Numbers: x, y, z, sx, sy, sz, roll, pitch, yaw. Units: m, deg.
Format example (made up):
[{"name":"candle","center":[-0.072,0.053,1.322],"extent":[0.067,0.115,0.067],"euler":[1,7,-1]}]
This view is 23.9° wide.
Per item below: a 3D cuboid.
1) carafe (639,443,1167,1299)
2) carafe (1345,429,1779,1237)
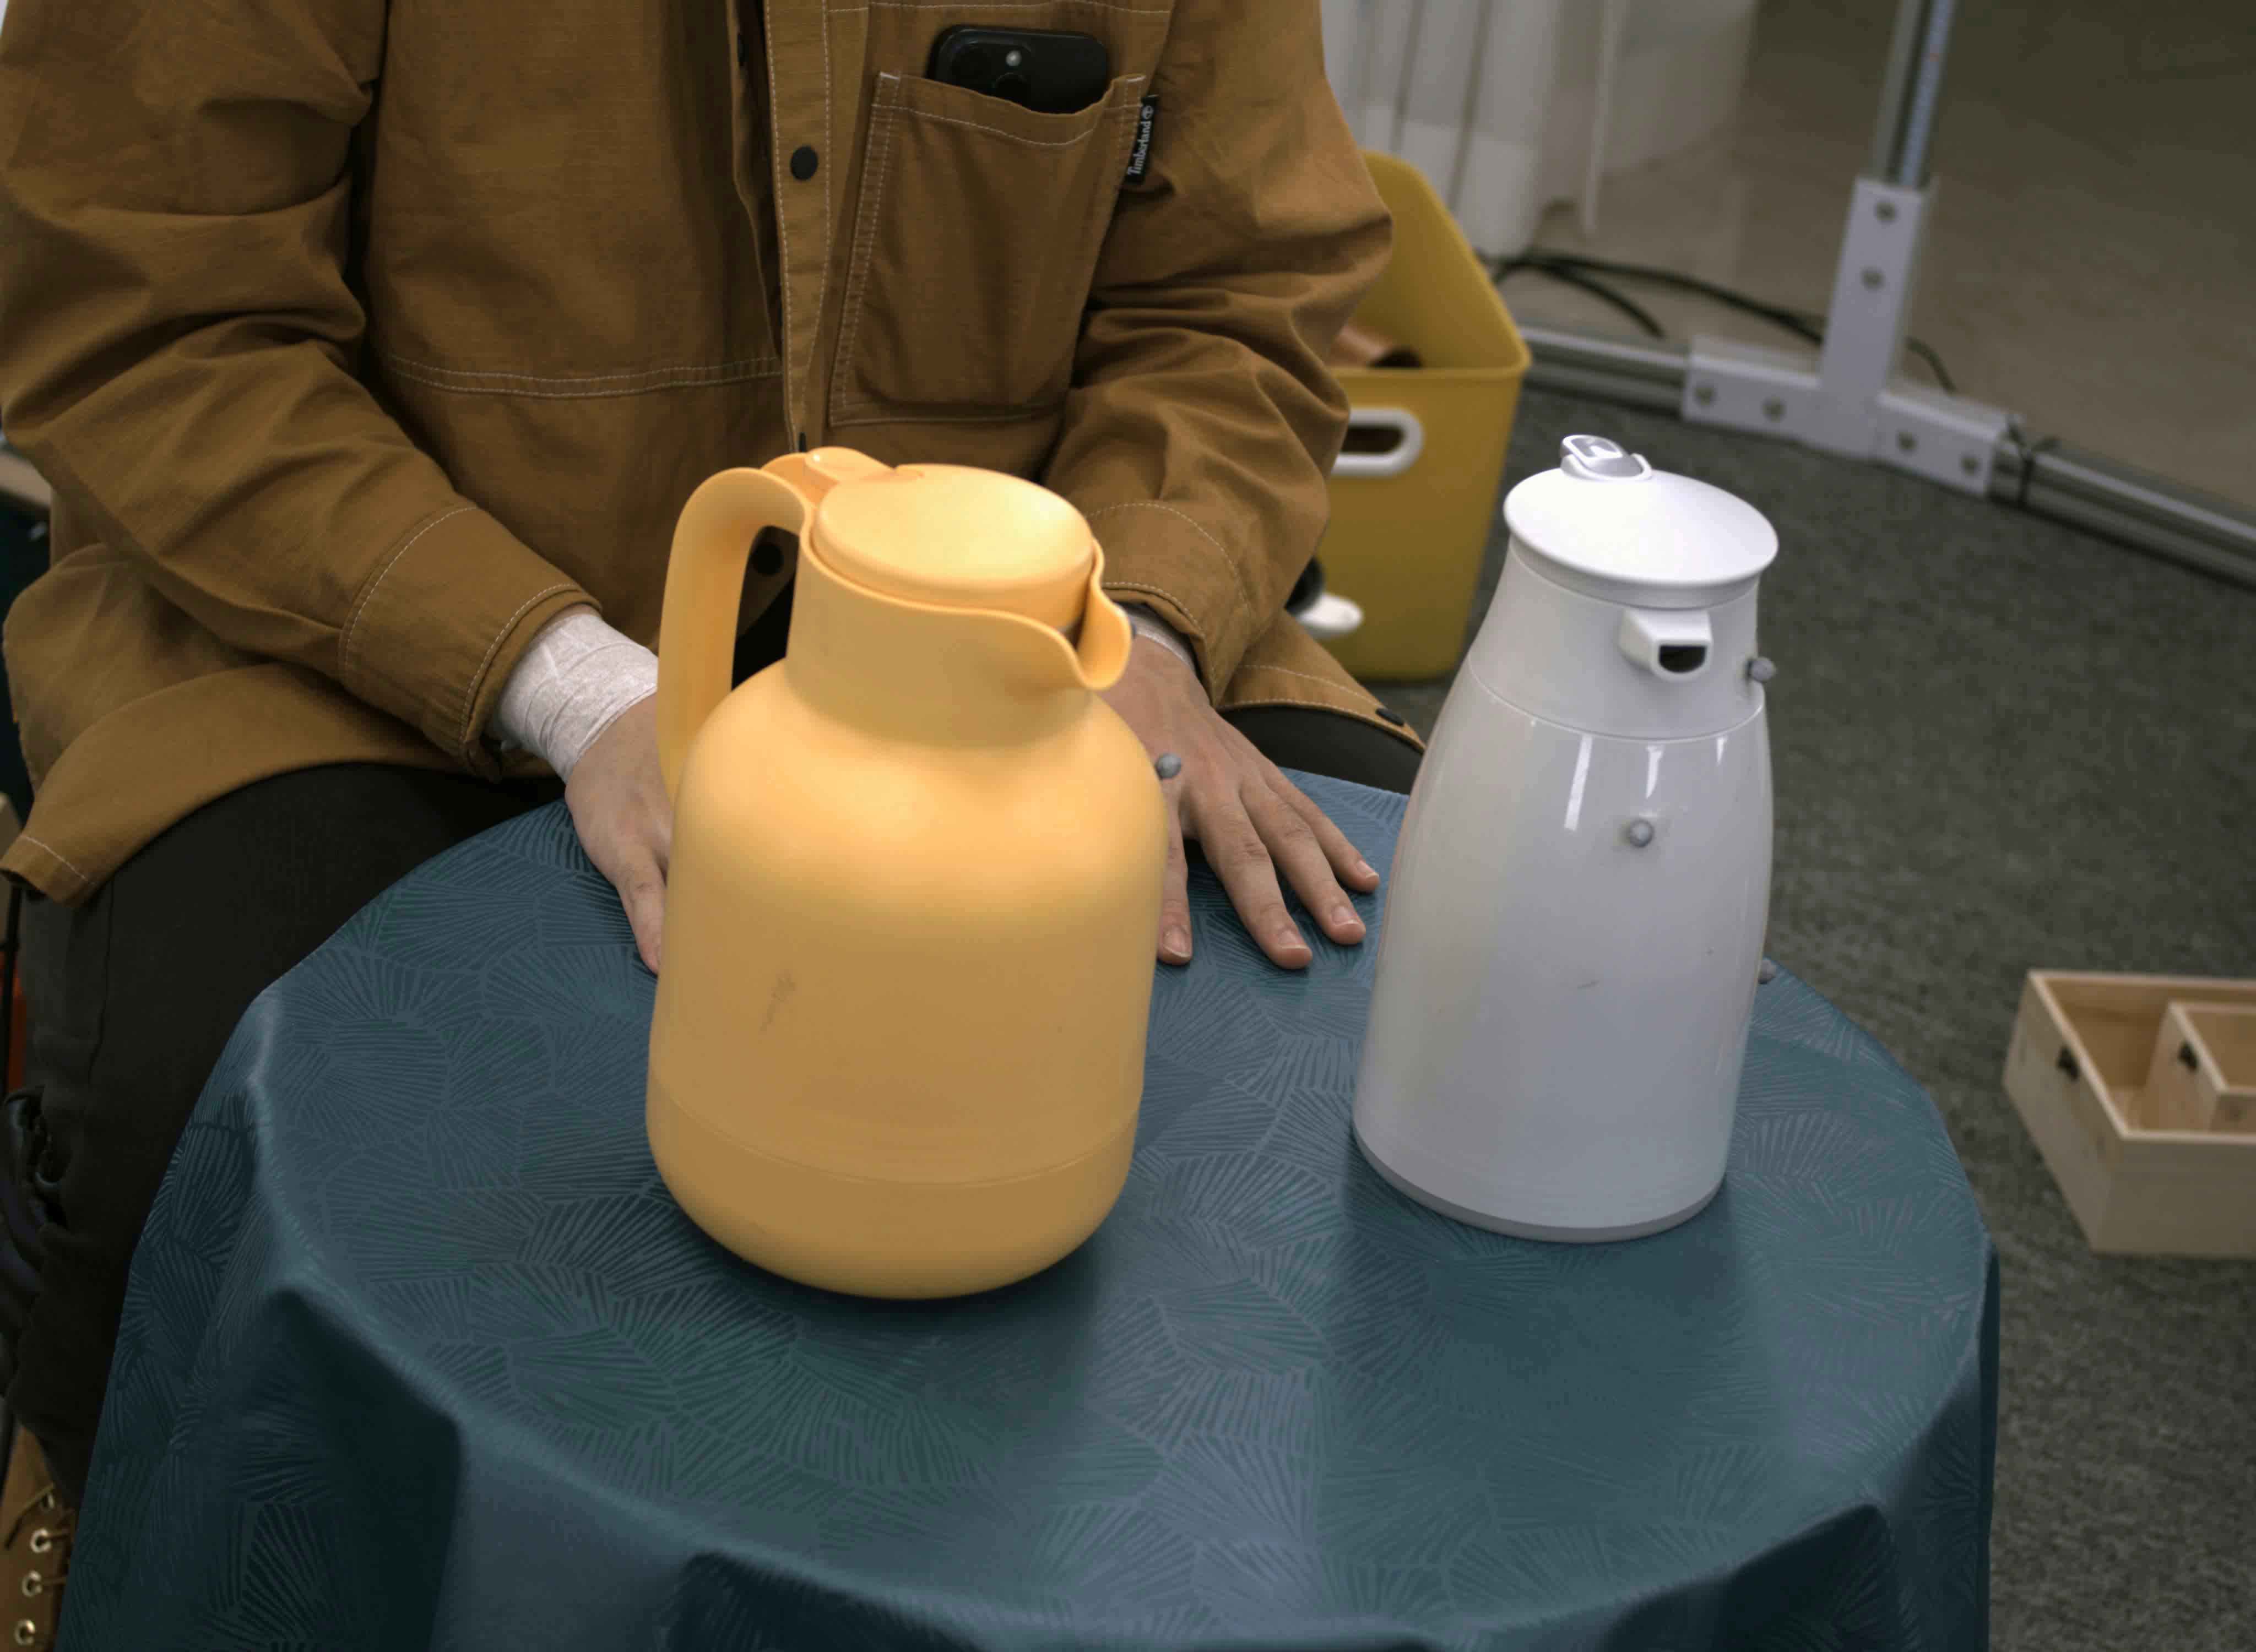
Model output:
[{"name":"carafe","center":[-0.080,0.005,1.735],"extent":[0.162,0.260,0.204],"euler":[-14,34,-40]},{"name":"carafe","center":[0.151,-0.008,1.823],"extent":[0.132,0.248,0.169],"euler":[1,27,-13]}]
